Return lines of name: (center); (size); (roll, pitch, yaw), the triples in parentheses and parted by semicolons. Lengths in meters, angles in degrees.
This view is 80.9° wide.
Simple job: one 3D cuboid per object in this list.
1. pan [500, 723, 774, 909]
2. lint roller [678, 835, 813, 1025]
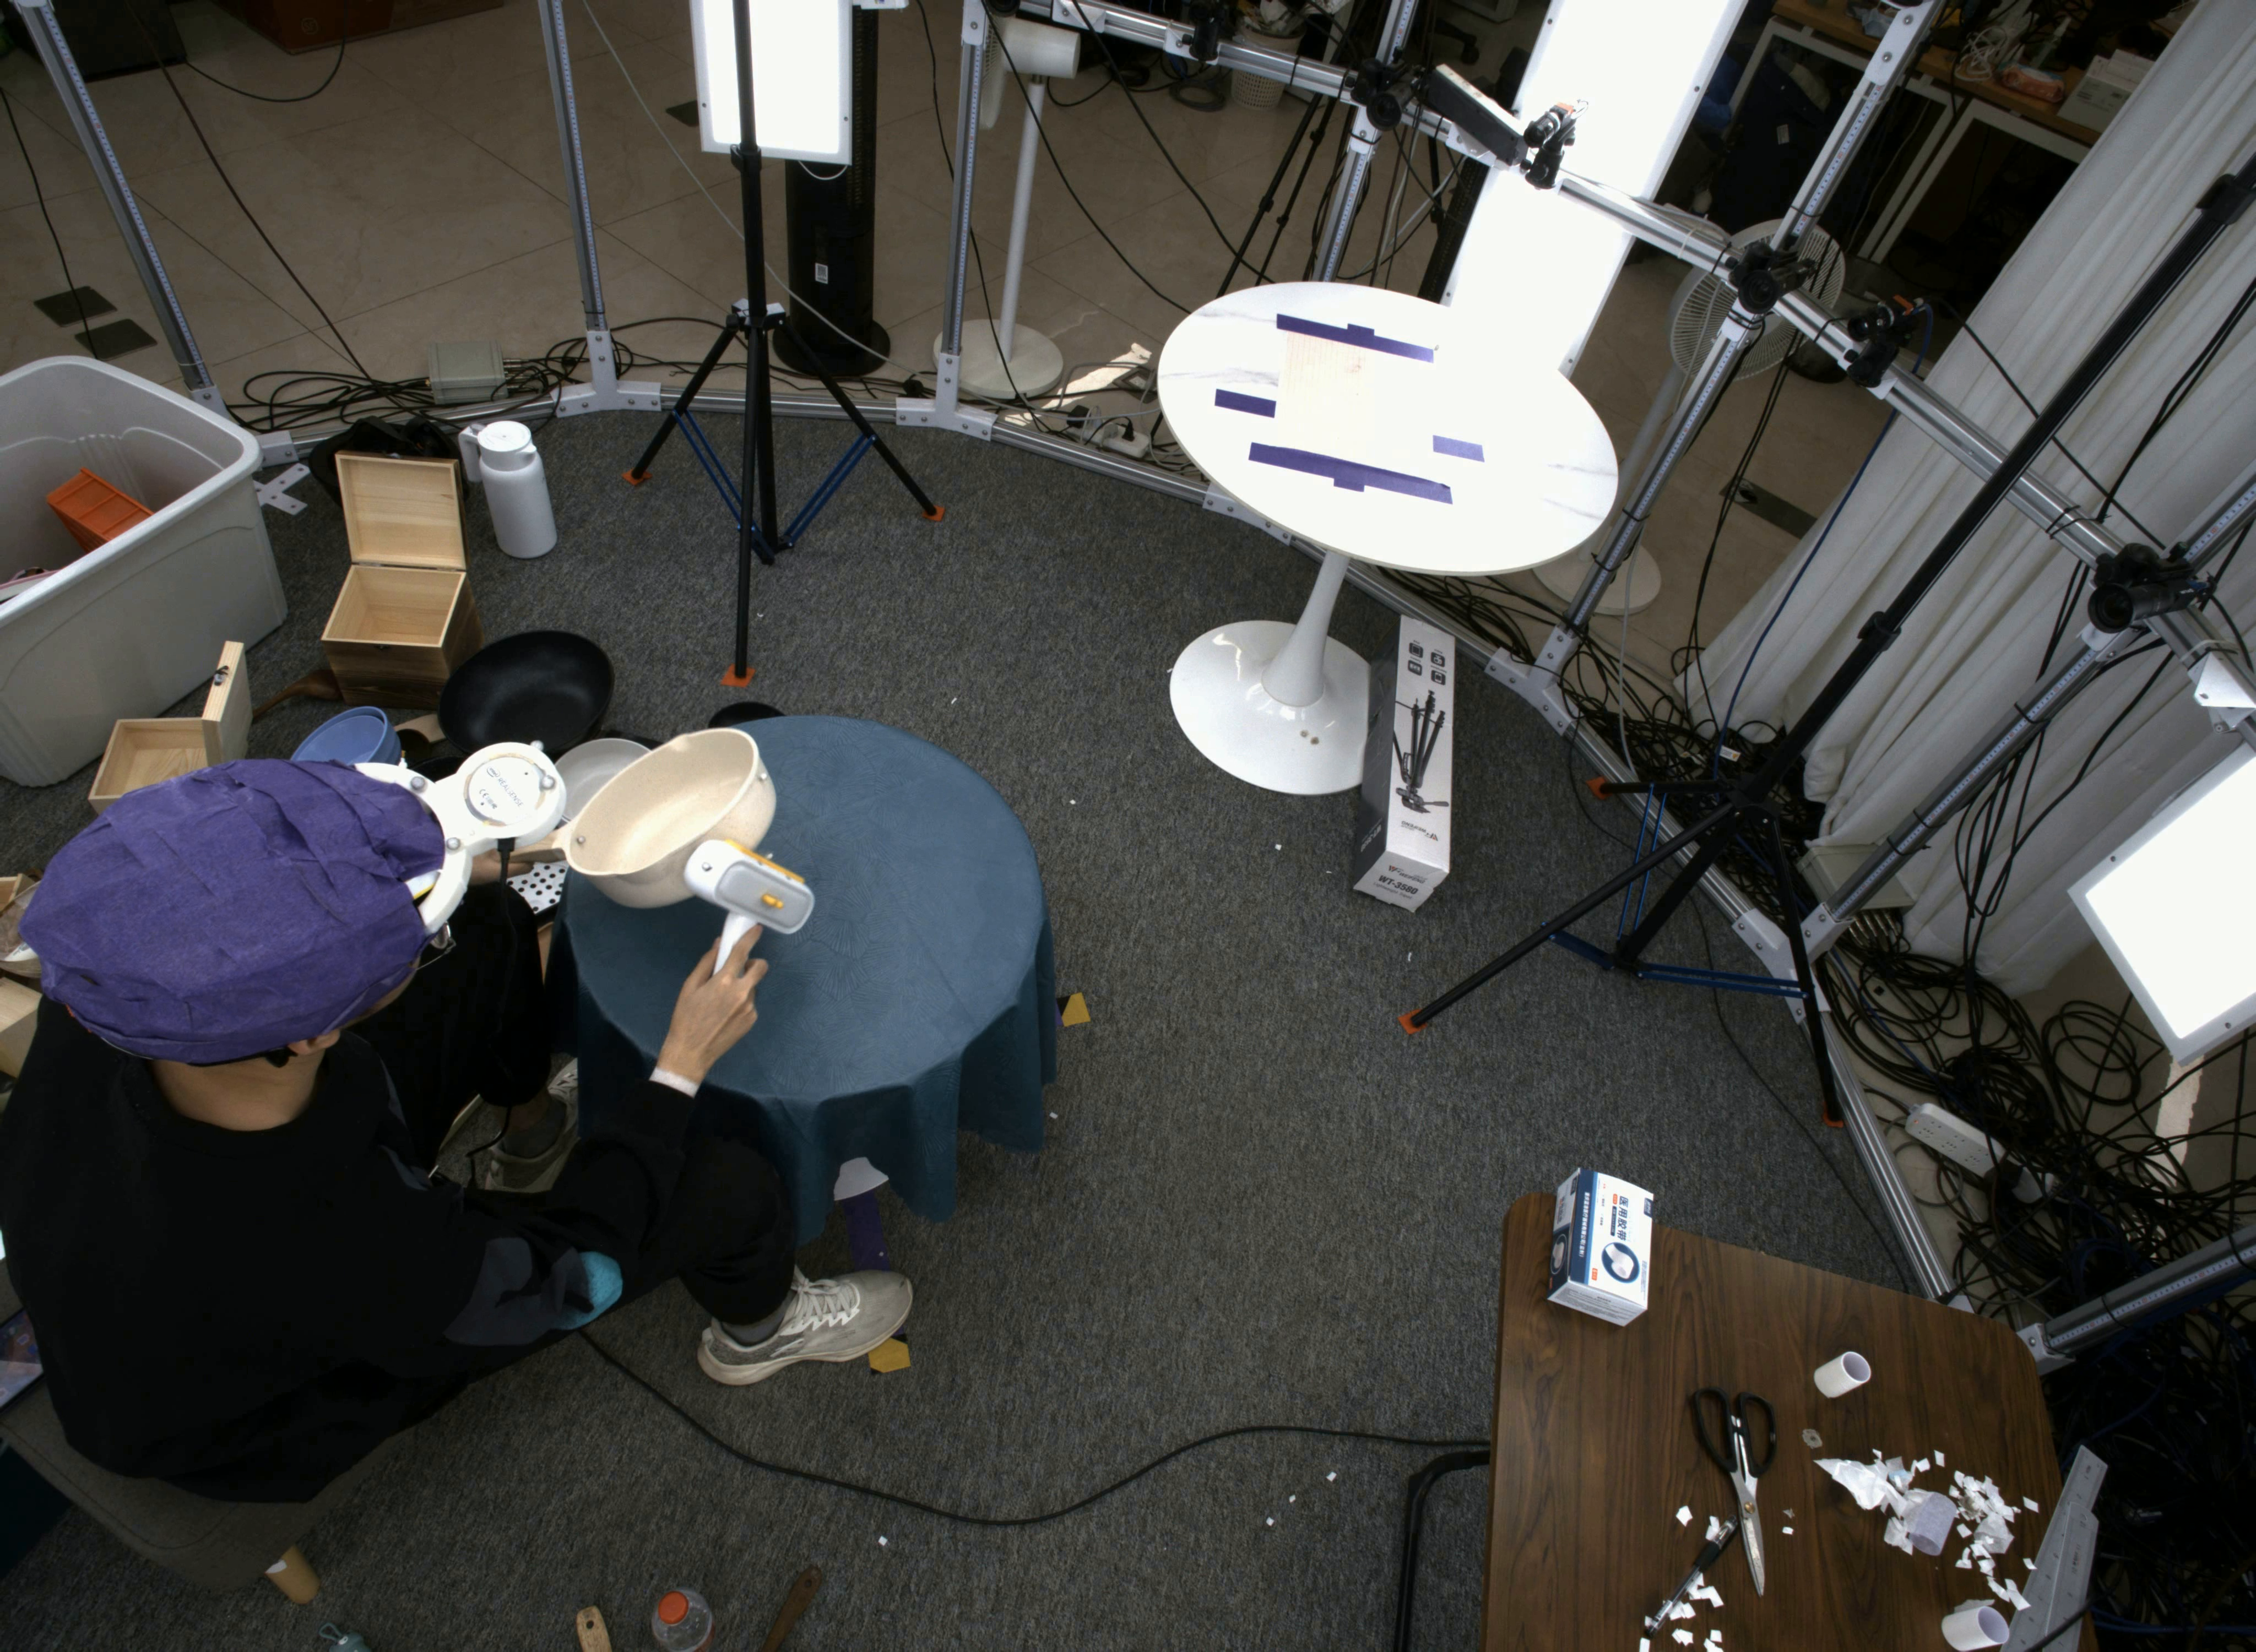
pan: (-0.616, 0.019, 1.519); (0.429, 0.106, 0.256); (-20, 40, 6)
lint roller: (-0.438, 0.121, 1.443); (0.072, 0.197, 0.193); (18, 83, 20)
